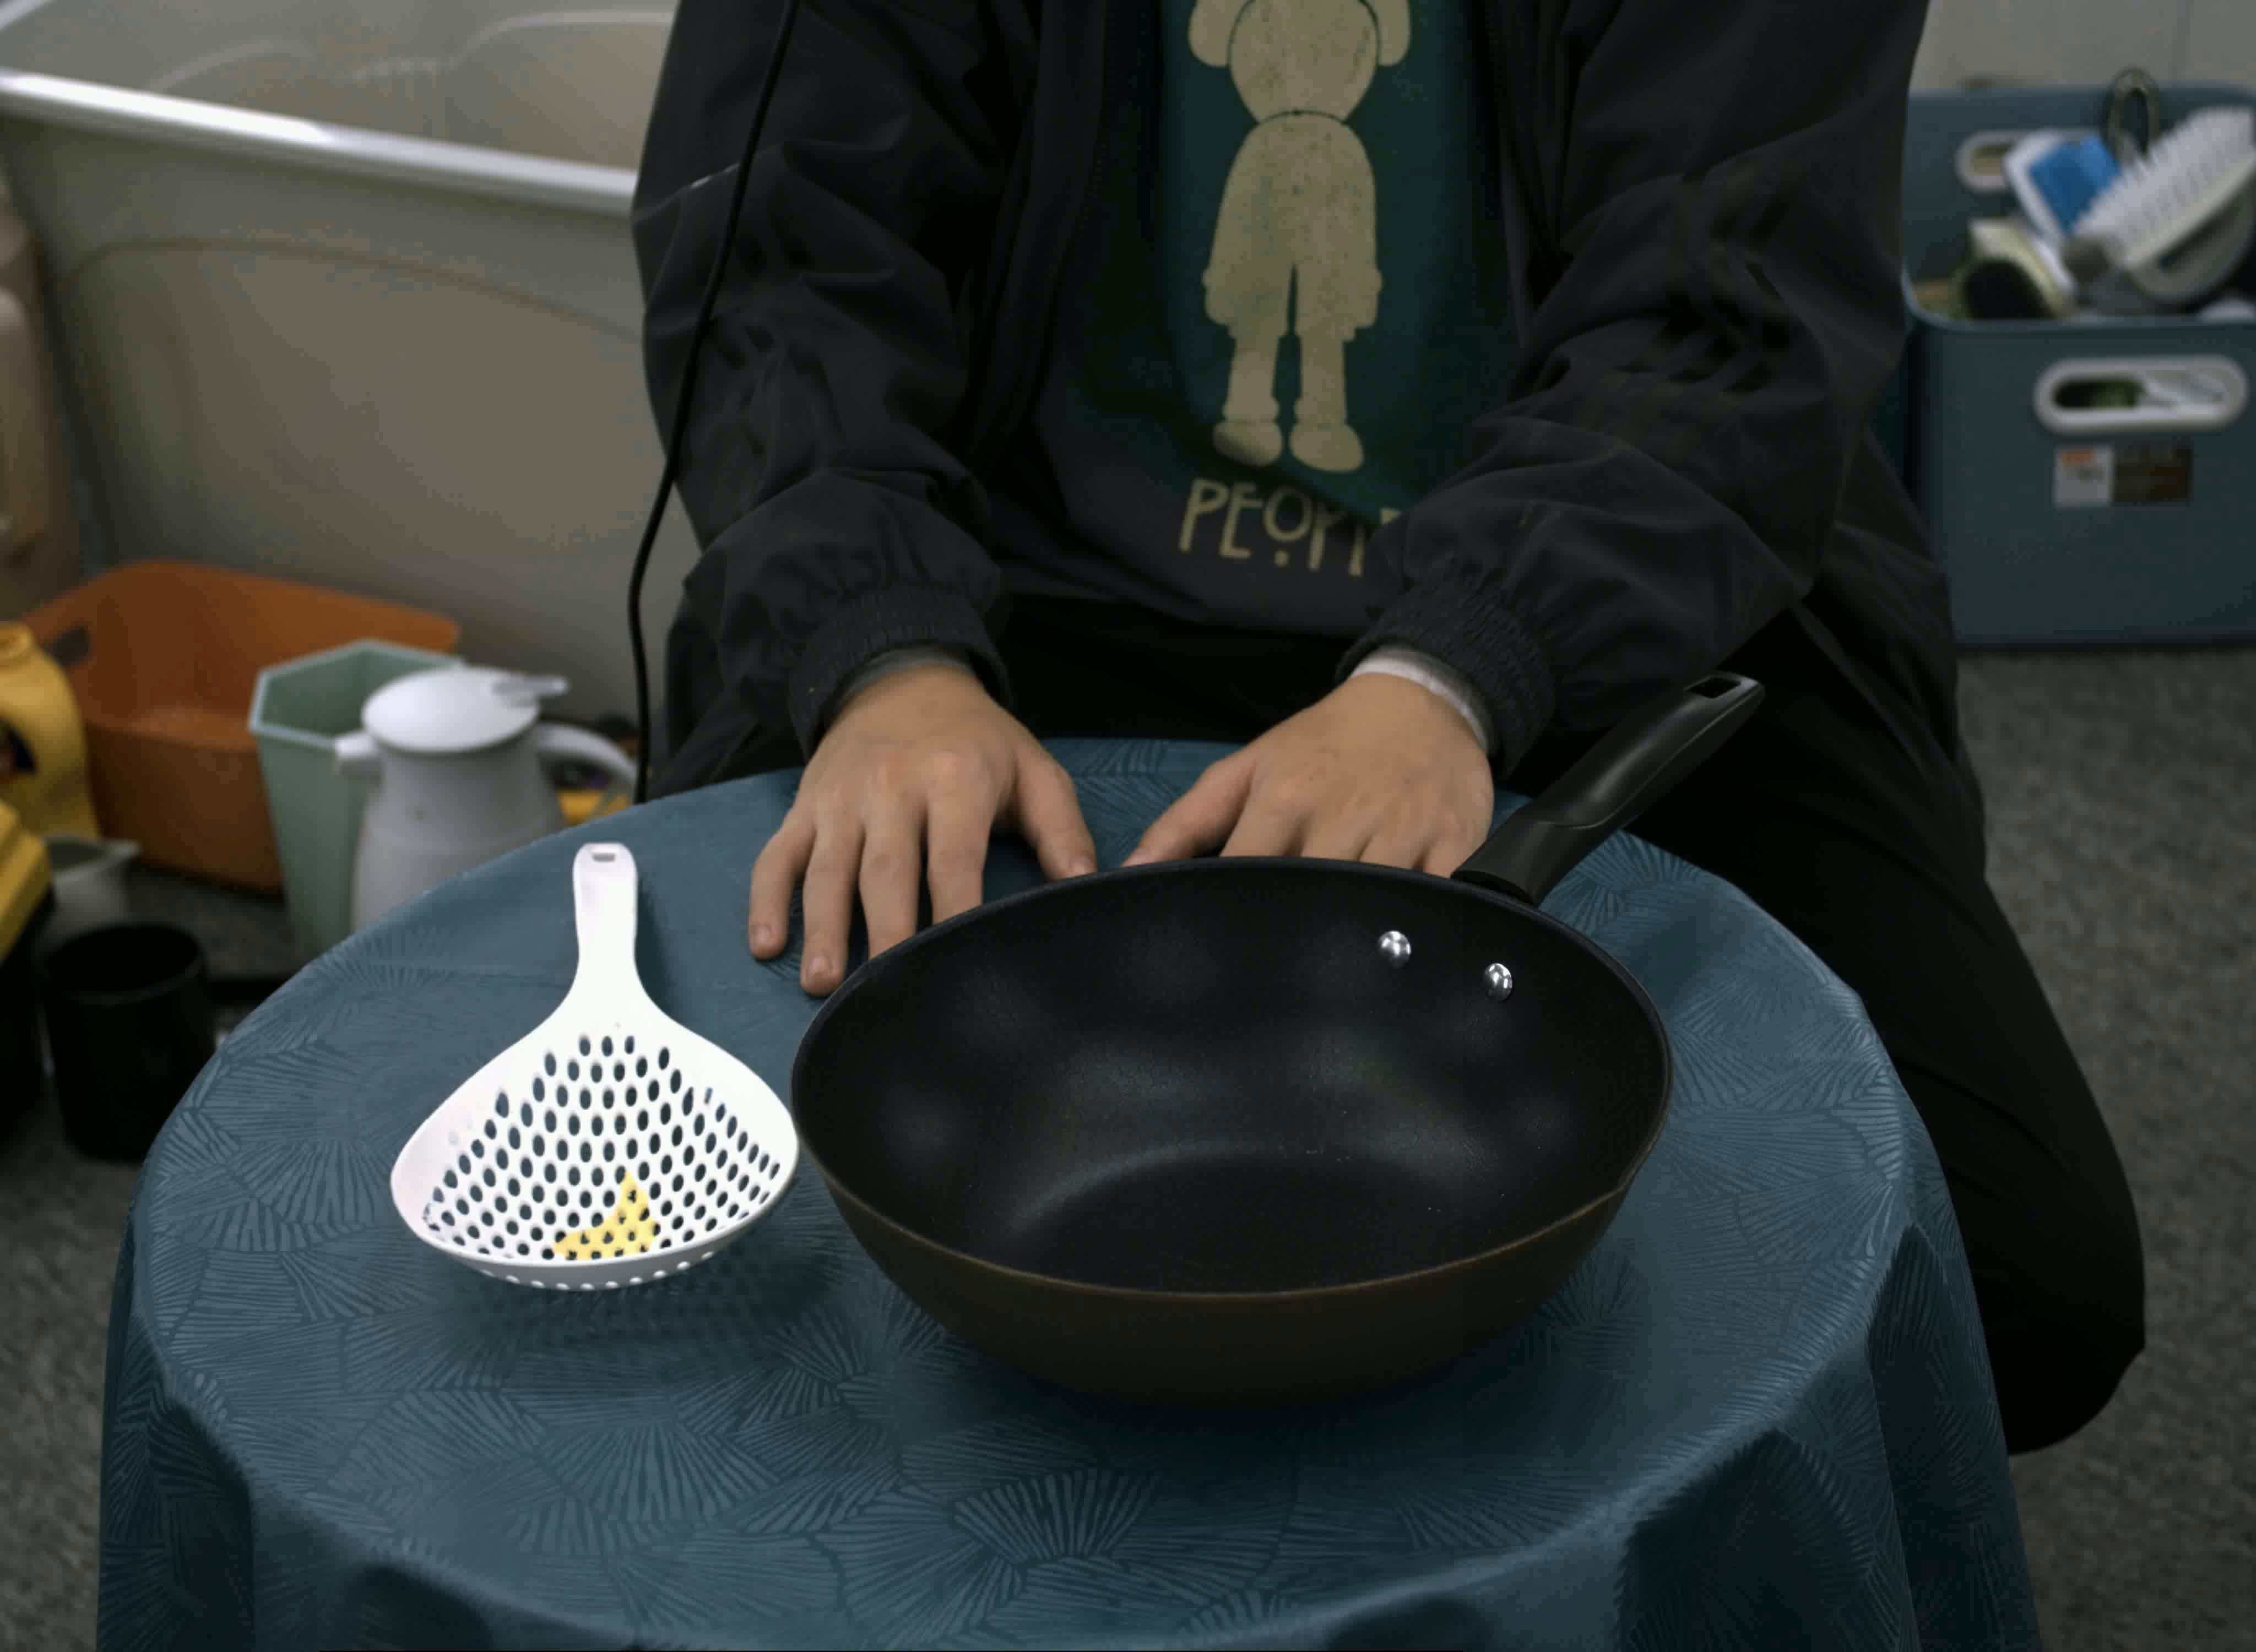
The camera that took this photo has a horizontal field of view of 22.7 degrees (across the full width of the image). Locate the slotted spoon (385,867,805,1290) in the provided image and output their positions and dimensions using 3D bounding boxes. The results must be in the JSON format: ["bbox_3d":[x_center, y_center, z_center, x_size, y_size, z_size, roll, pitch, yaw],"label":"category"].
[{"bbox_3d":[-0.179,0.074,1.924,0.136,0.050,0.353,-6,27,-2],"label":"slotted spoon"}]

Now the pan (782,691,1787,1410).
[{"bbox_3d":[0.085,0.072,1.858,0.287,0.086,0.470,16,31,32],"label":"pan"}]
